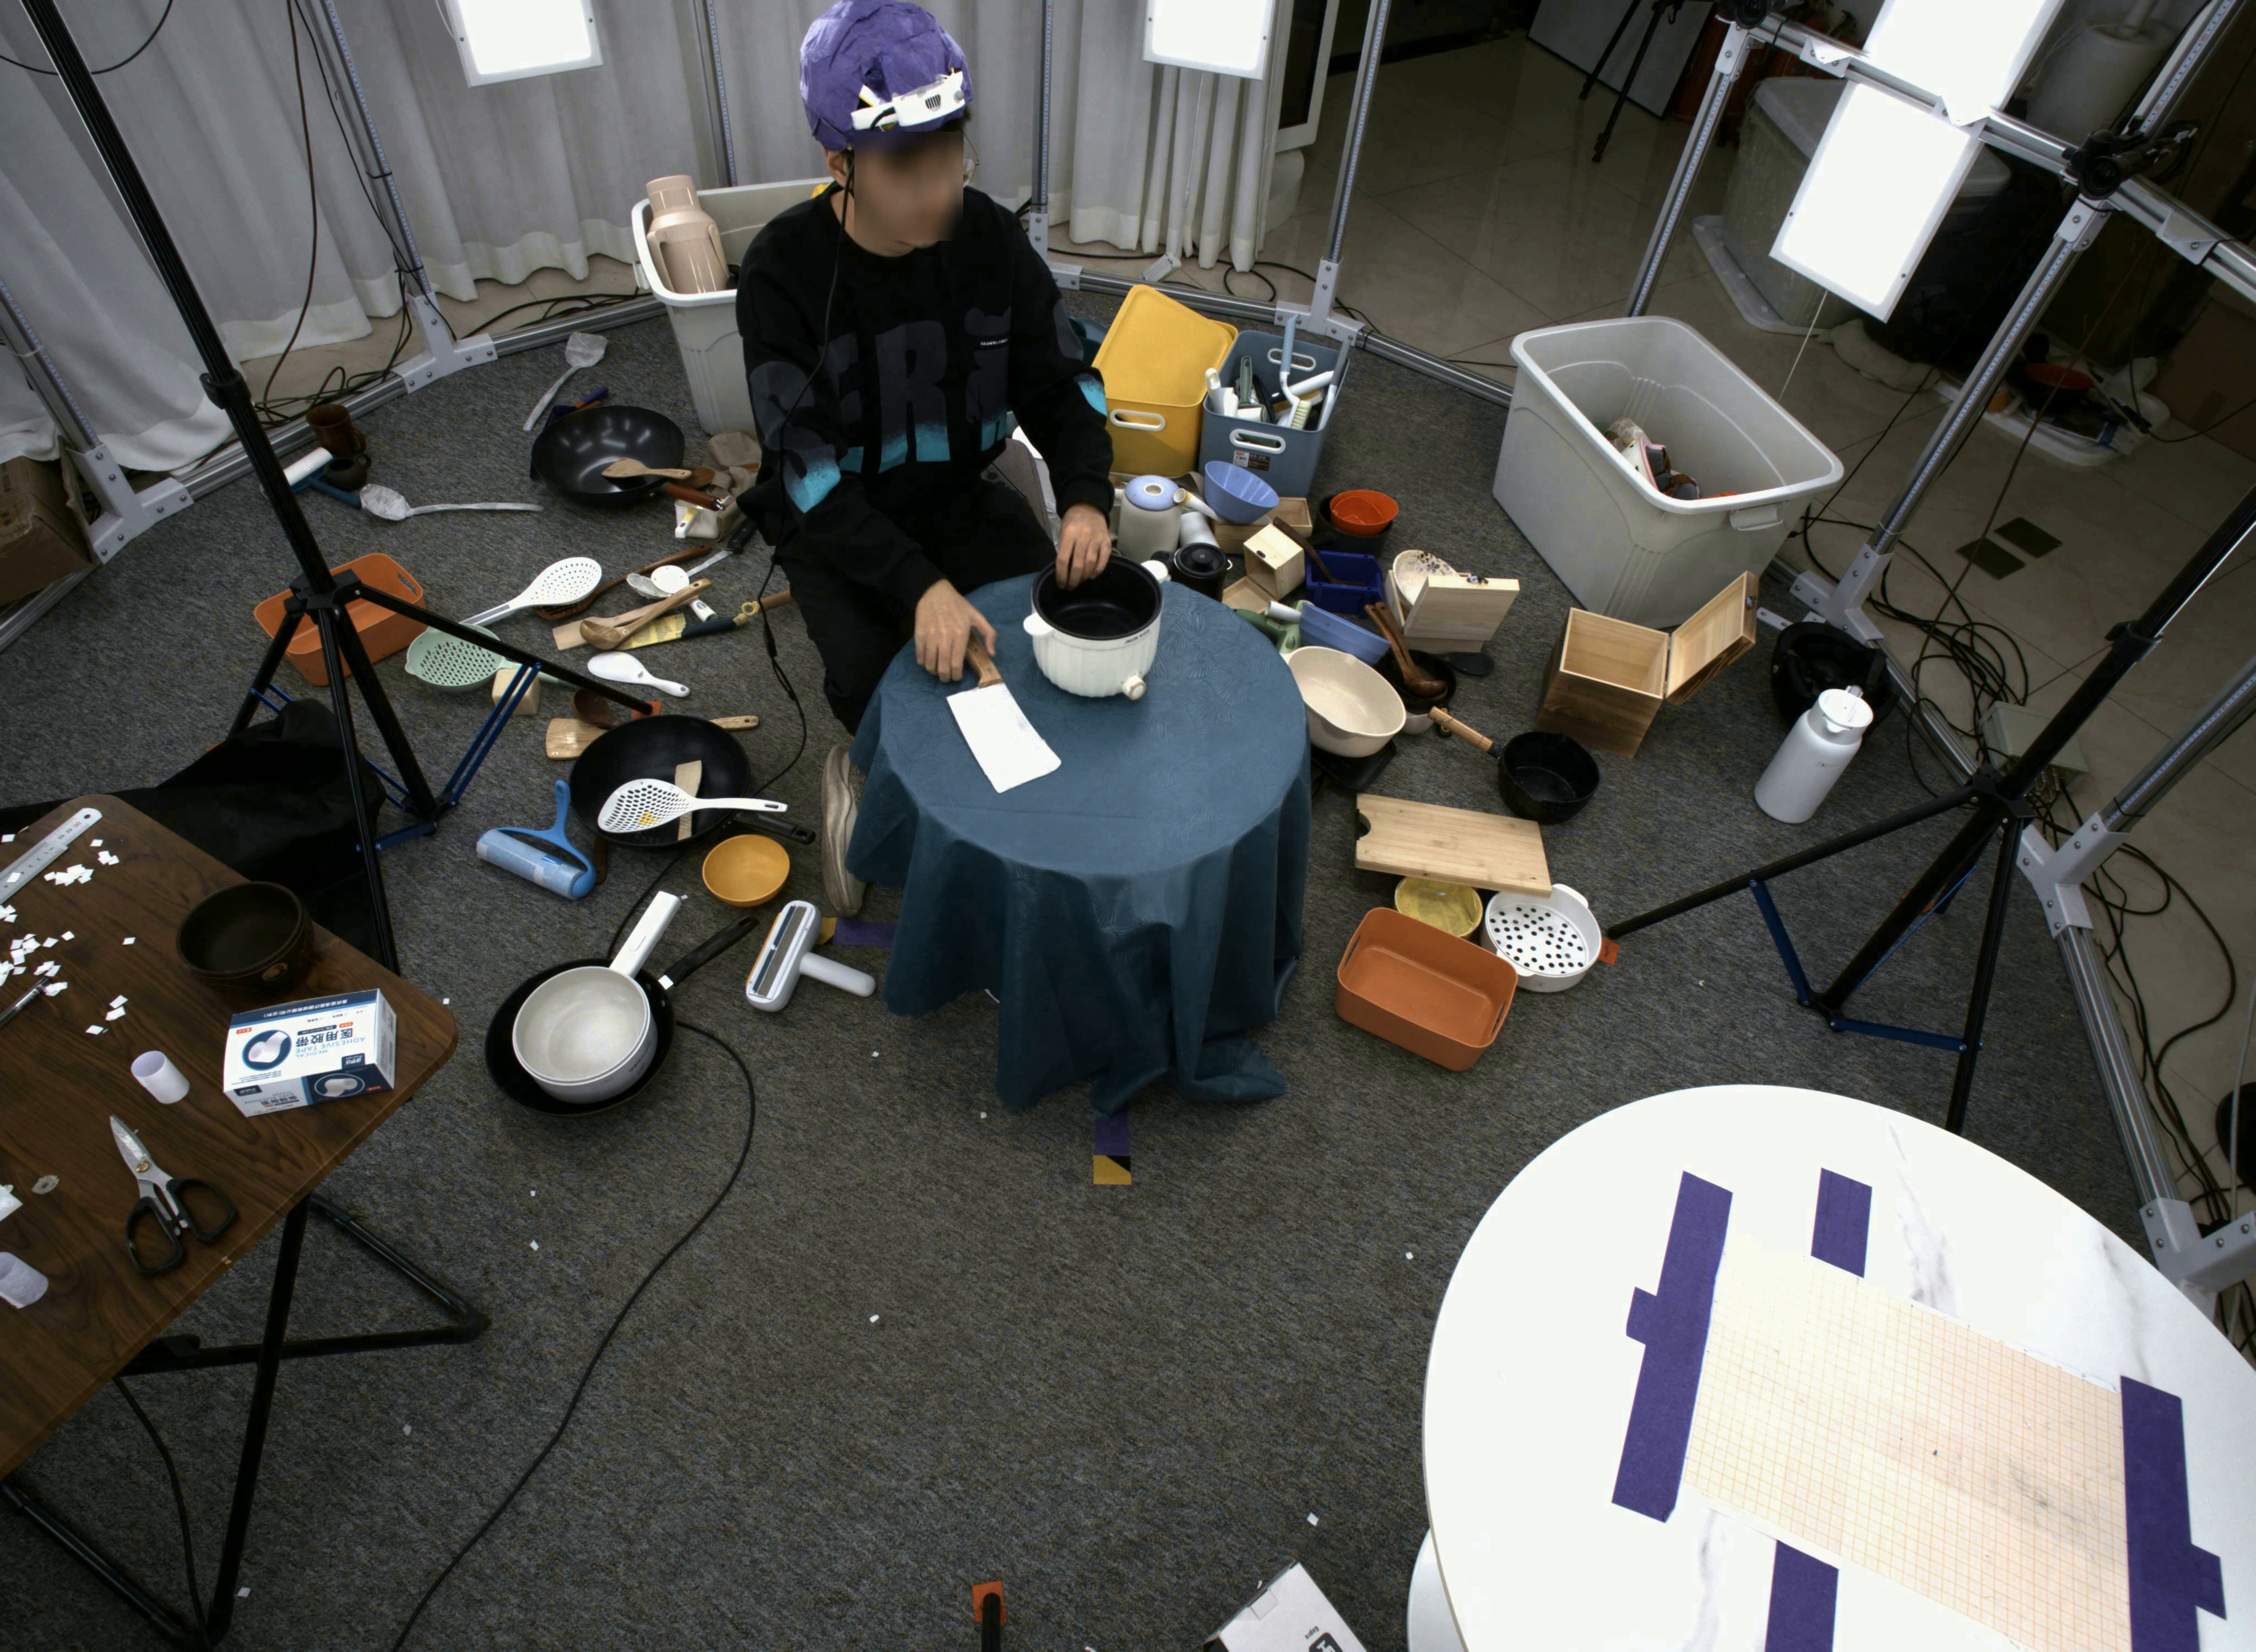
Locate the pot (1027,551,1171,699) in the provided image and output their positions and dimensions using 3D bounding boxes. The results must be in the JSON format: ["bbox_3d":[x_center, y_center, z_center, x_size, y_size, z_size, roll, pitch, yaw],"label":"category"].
[{"bbox_3d":[-0.036,-0.275,1.815,0.242,0.139,0.194,-30,54,-25],"label":"pot"}]

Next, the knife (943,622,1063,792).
[{"bbox_3d":[-0.189,-0.173,1.795,0.114,0.021,0.322,-16,55,-17],"label":"knife"}]
